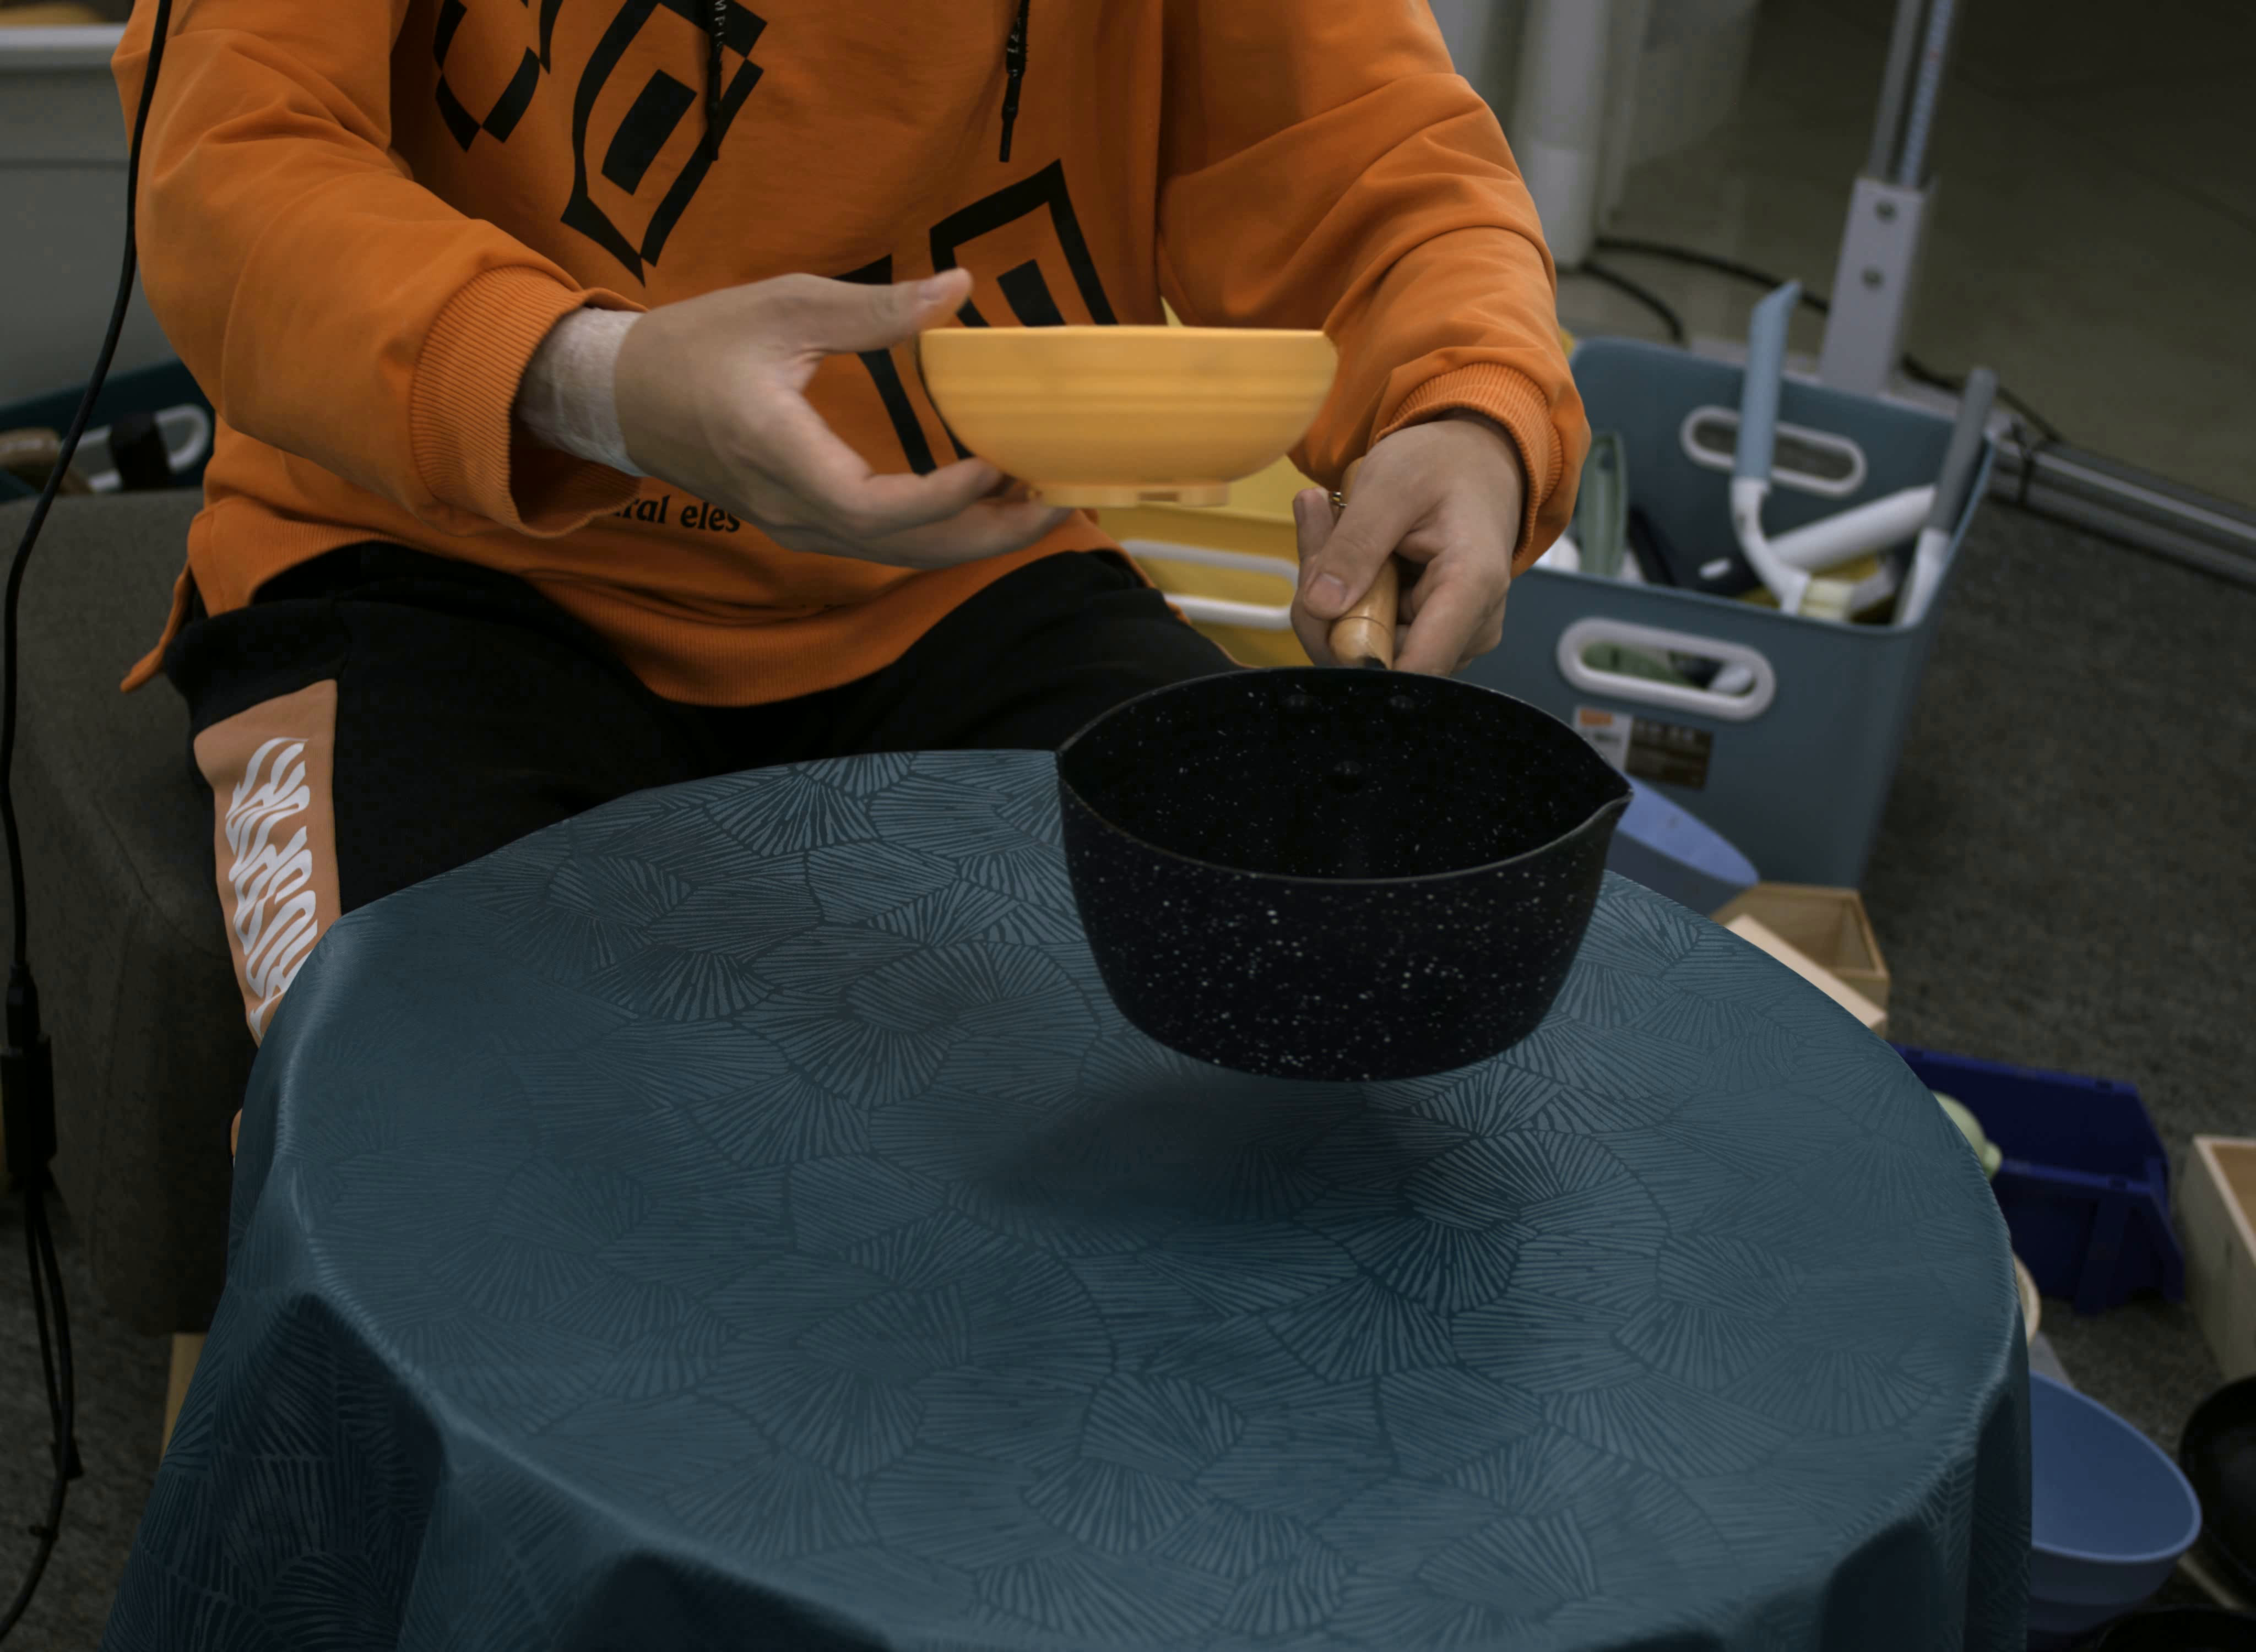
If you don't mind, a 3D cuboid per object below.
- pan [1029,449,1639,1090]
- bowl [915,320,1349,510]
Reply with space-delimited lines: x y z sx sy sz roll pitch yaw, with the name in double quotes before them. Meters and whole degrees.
"pan" 0.075 -0.024 1.875 0.207 0.108 0.344 1 25 5
"bowl" 0.001 -0.135 1.768 0.145 0.060 0.145 1 3 0
